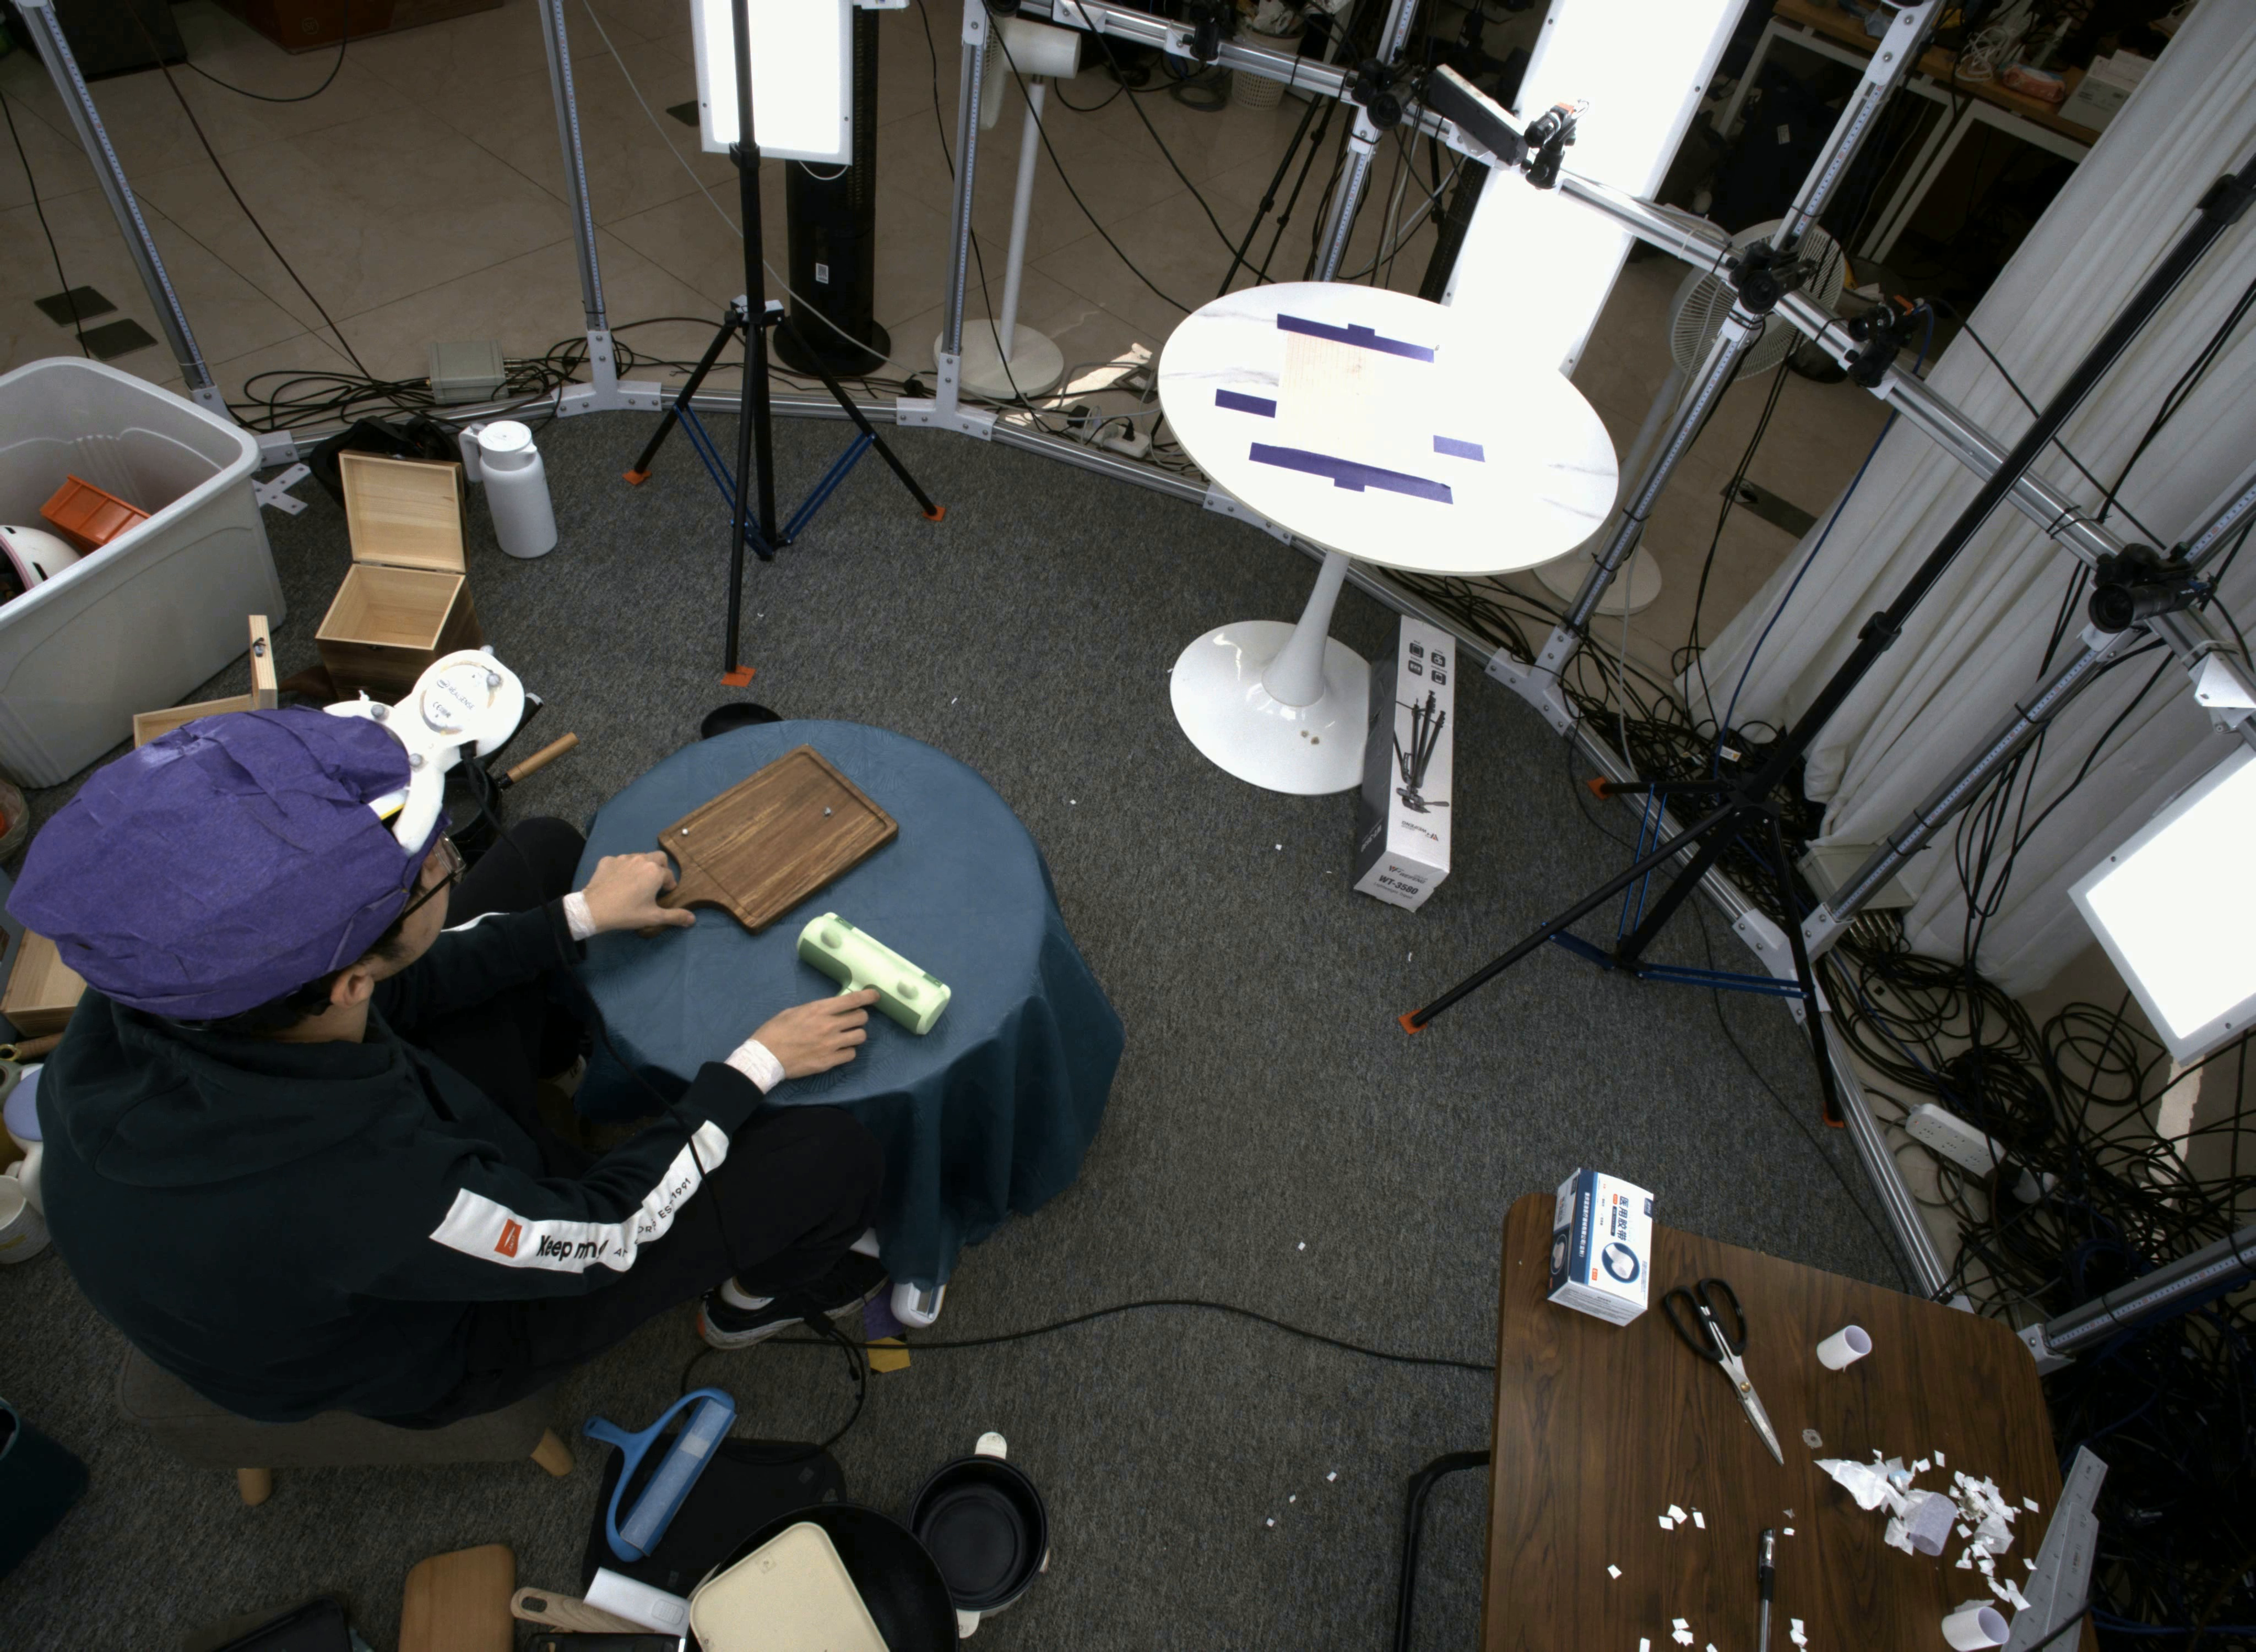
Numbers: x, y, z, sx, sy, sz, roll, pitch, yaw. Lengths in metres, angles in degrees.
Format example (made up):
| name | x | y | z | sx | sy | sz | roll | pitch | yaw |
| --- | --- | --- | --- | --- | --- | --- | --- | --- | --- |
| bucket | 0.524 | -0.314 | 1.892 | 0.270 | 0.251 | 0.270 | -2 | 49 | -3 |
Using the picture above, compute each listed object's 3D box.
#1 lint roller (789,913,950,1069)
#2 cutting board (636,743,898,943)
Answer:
| name | x | y | z | sx | sy | sz | roll | pitch | yaw |
| --- | --- | --- | --- | --- | --- | --- | --- | --- | --- |
| lint roller | -0.341 | 0.206 | 1.550 | 0.195 | 0.084 | 0.183 | 32 | 49 | 10 |
| cutting board | -0.489 | 0.036 | 1.673 | 0.197 | 0.023 | 0.352 | 39 | 55 | 15 |
